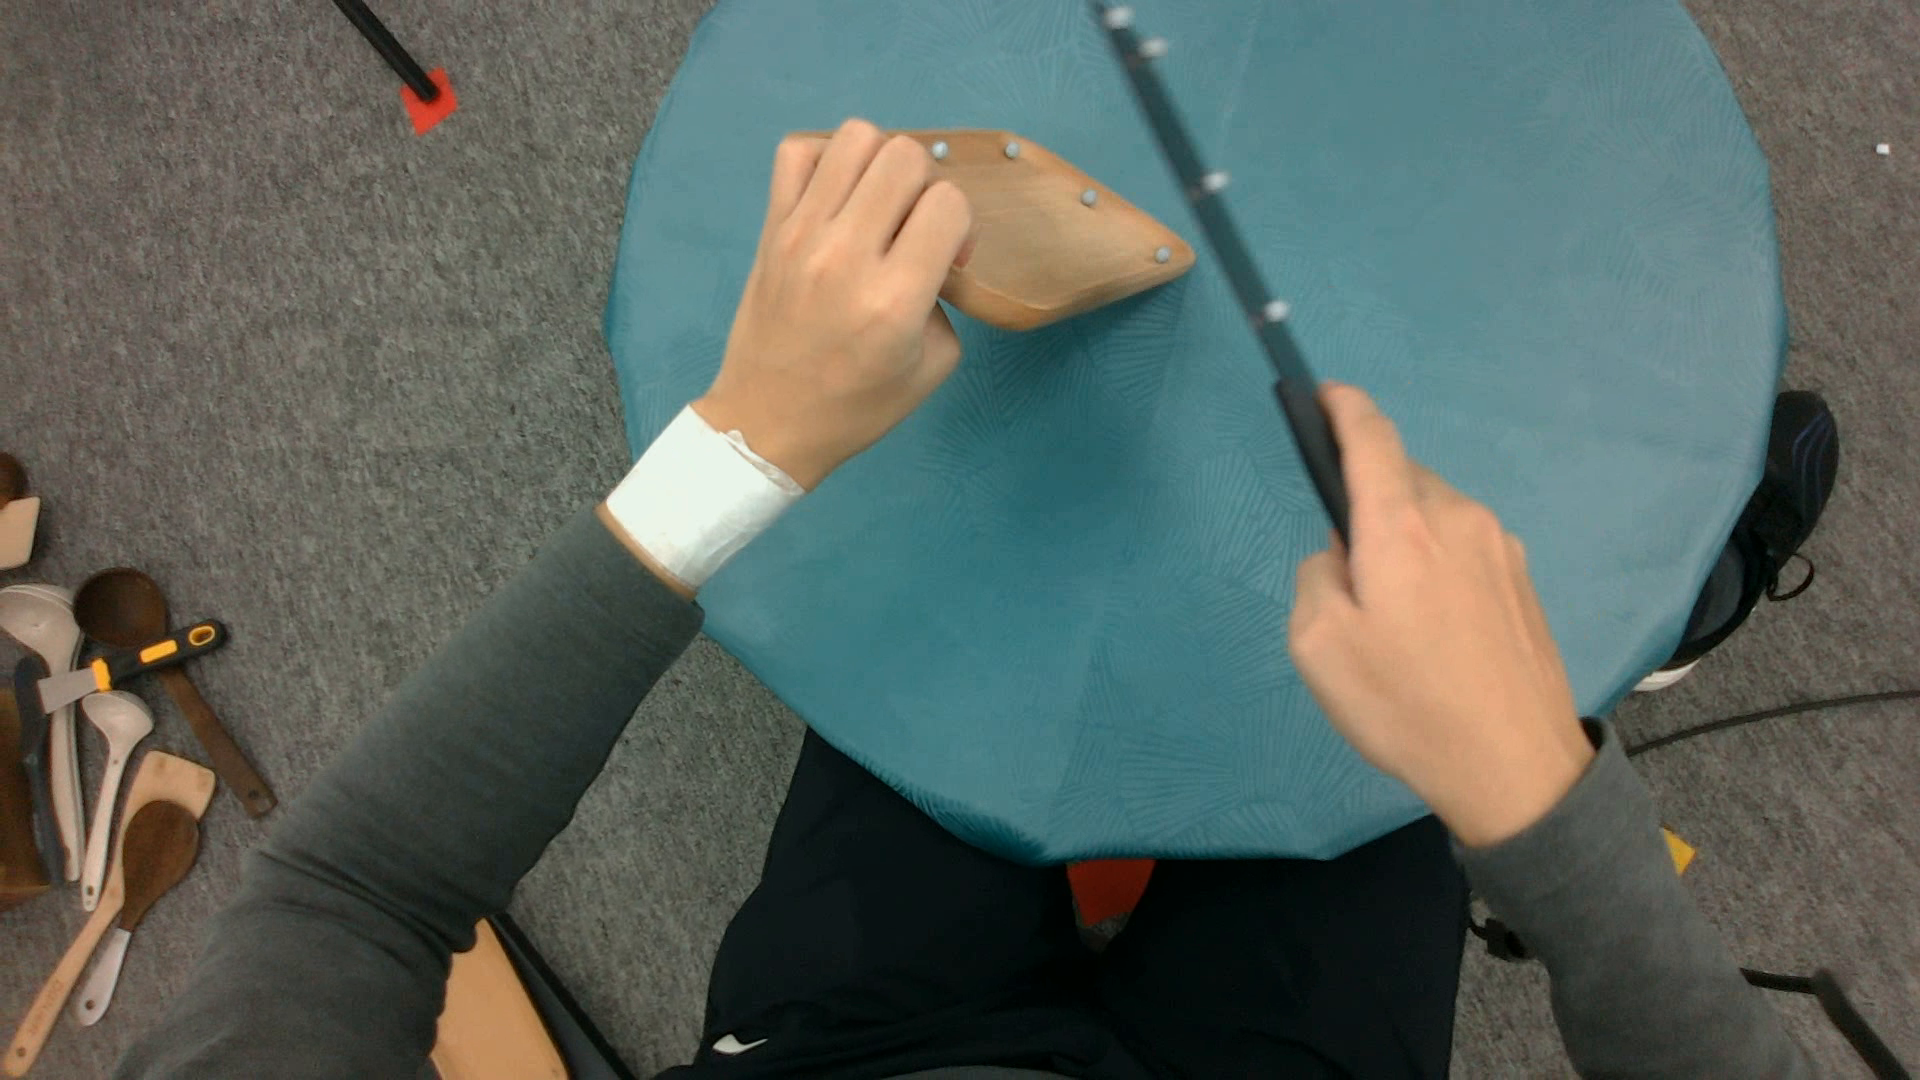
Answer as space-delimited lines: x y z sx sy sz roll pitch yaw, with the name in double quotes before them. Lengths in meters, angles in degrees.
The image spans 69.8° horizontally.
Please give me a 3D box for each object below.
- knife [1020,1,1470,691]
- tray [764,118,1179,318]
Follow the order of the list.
"knife" 0.106 -0.079 0.521 0.021 0.081 0.302 -34 76 25
"tray" 0.017 -0.150 0.617 0.130 0.252 0.023 34 118 13
